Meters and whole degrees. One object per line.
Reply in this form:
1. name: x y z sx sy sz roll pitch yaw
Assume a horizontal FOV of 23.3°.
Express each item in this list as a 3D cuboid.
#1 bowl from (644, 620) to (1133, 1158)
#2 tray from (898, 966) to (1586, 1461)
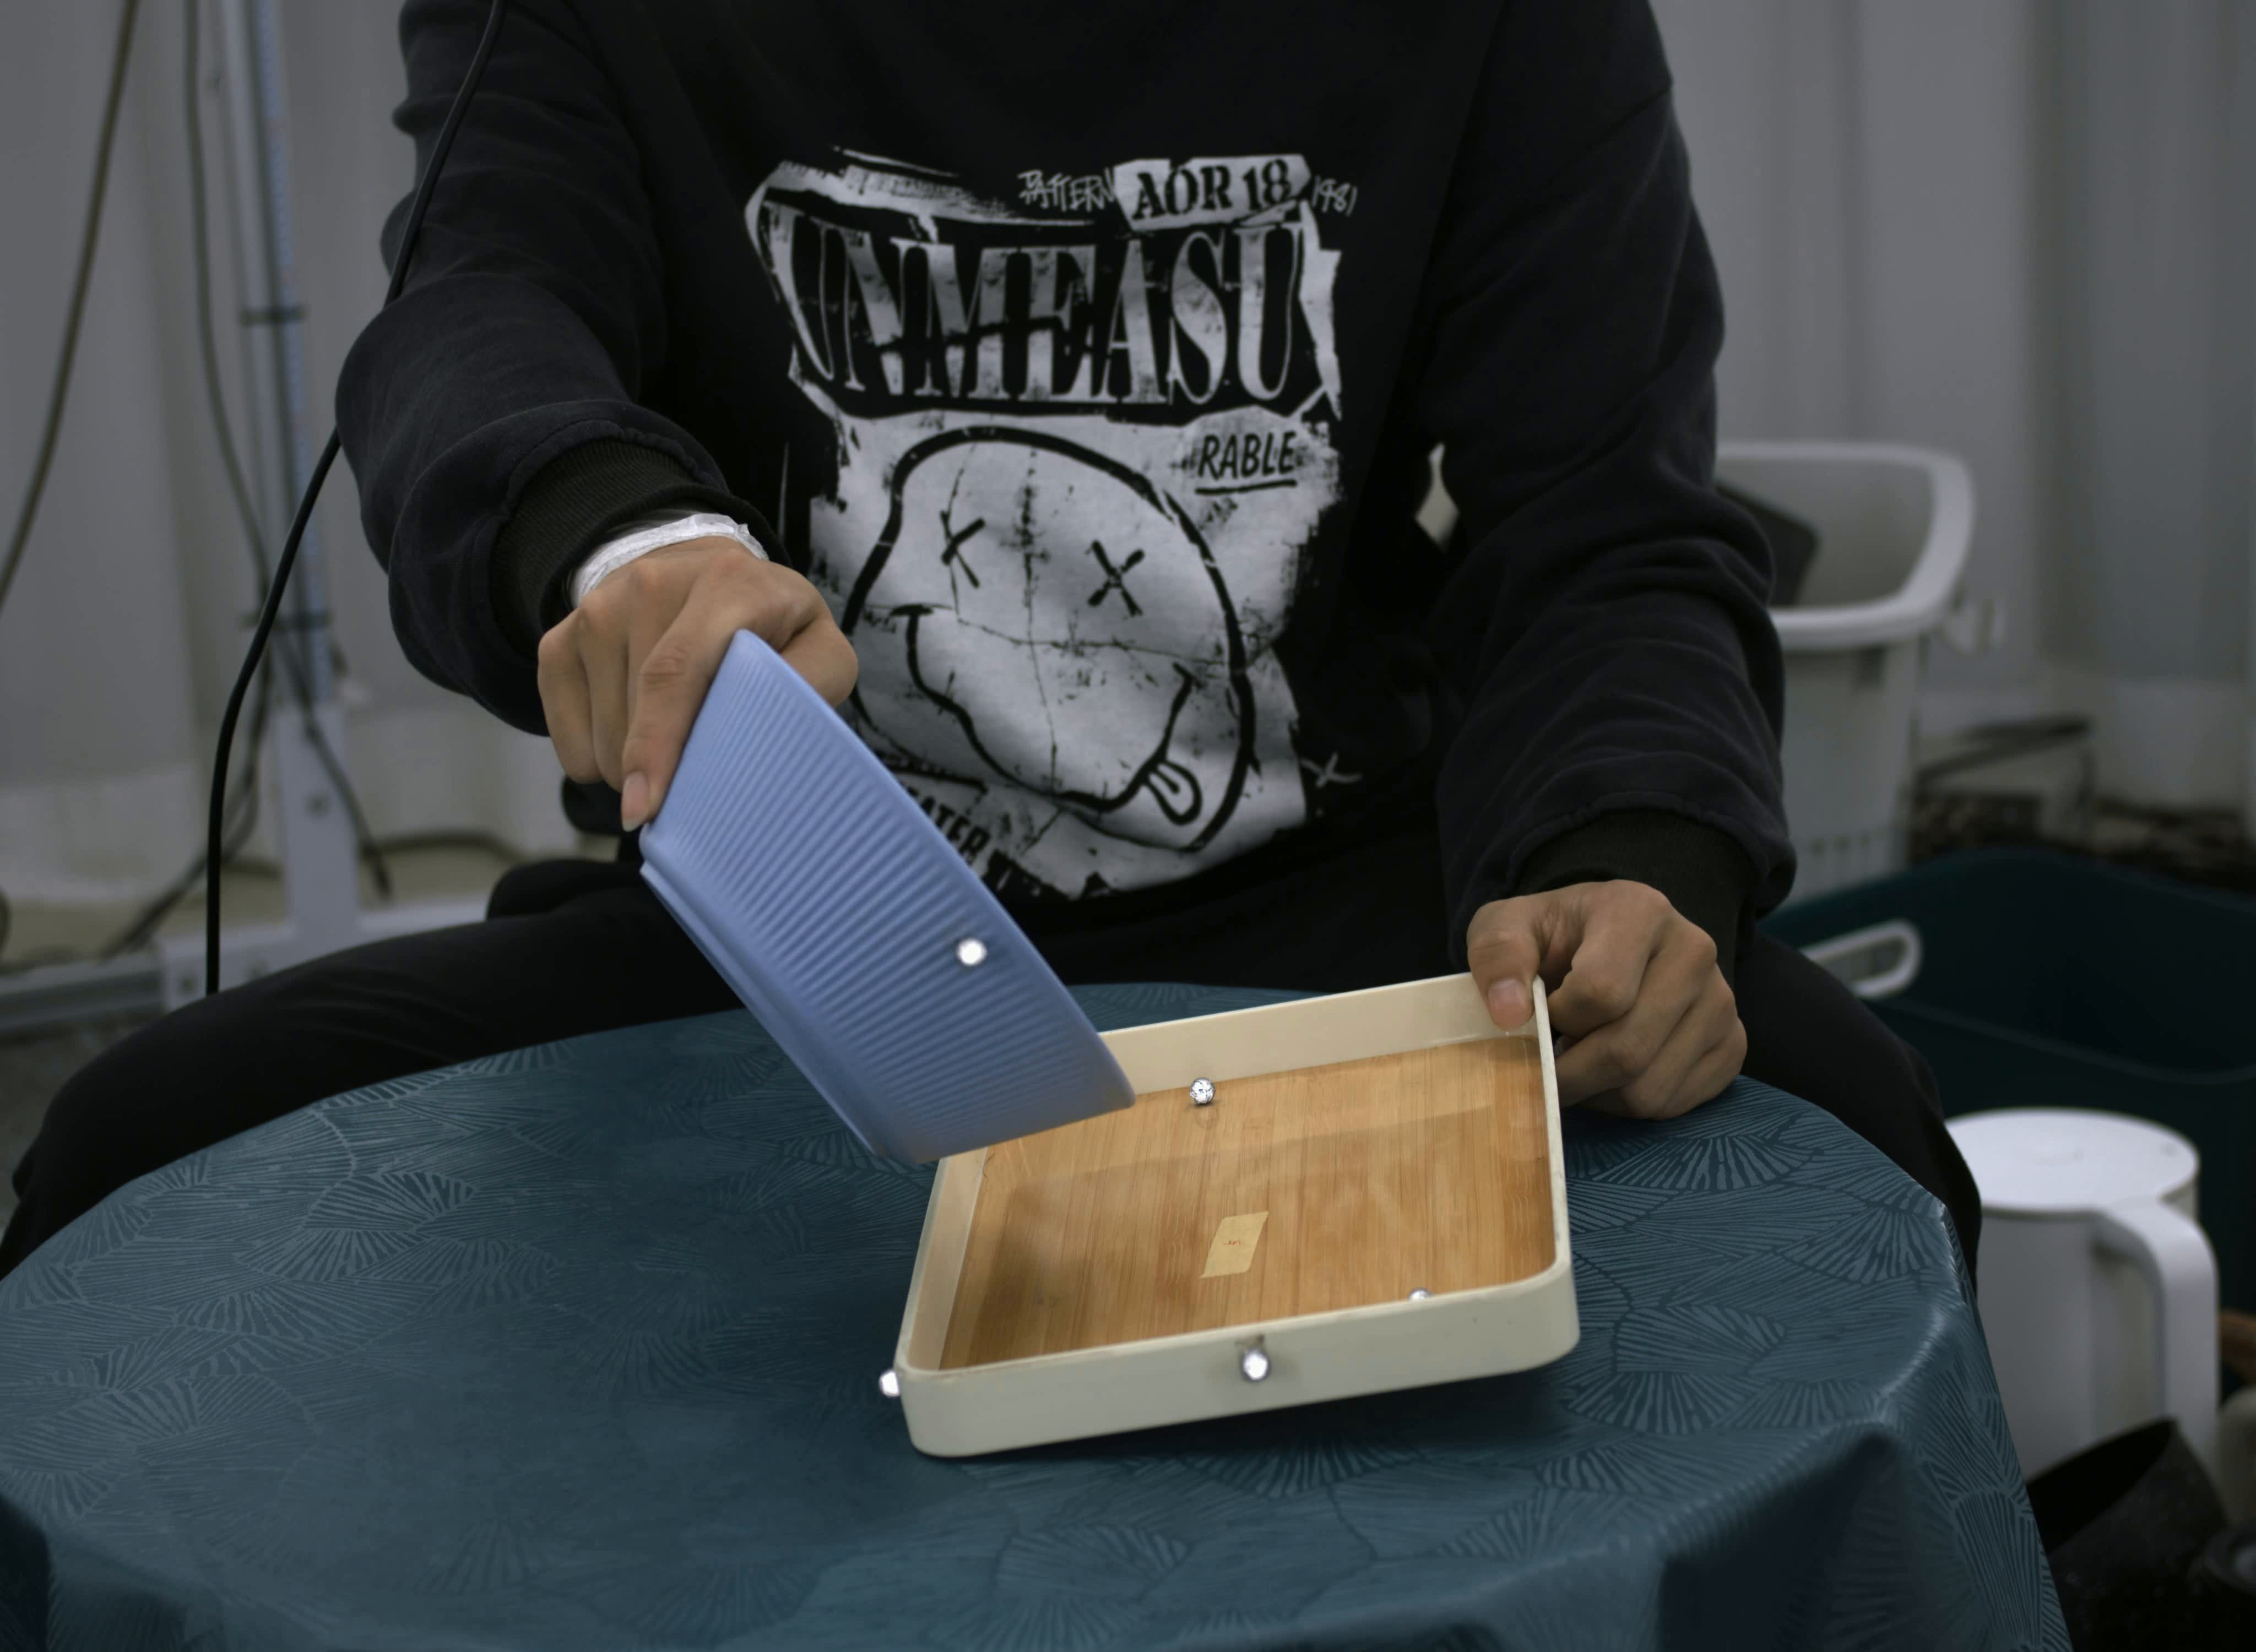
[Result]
1. bowl: -0.078 0.029 1.558 0.070 0.174 0.177 -39 22 -6
2. tray: 0.037 0.111 1.628 0.191 0.027 0.302 -10 15 5
